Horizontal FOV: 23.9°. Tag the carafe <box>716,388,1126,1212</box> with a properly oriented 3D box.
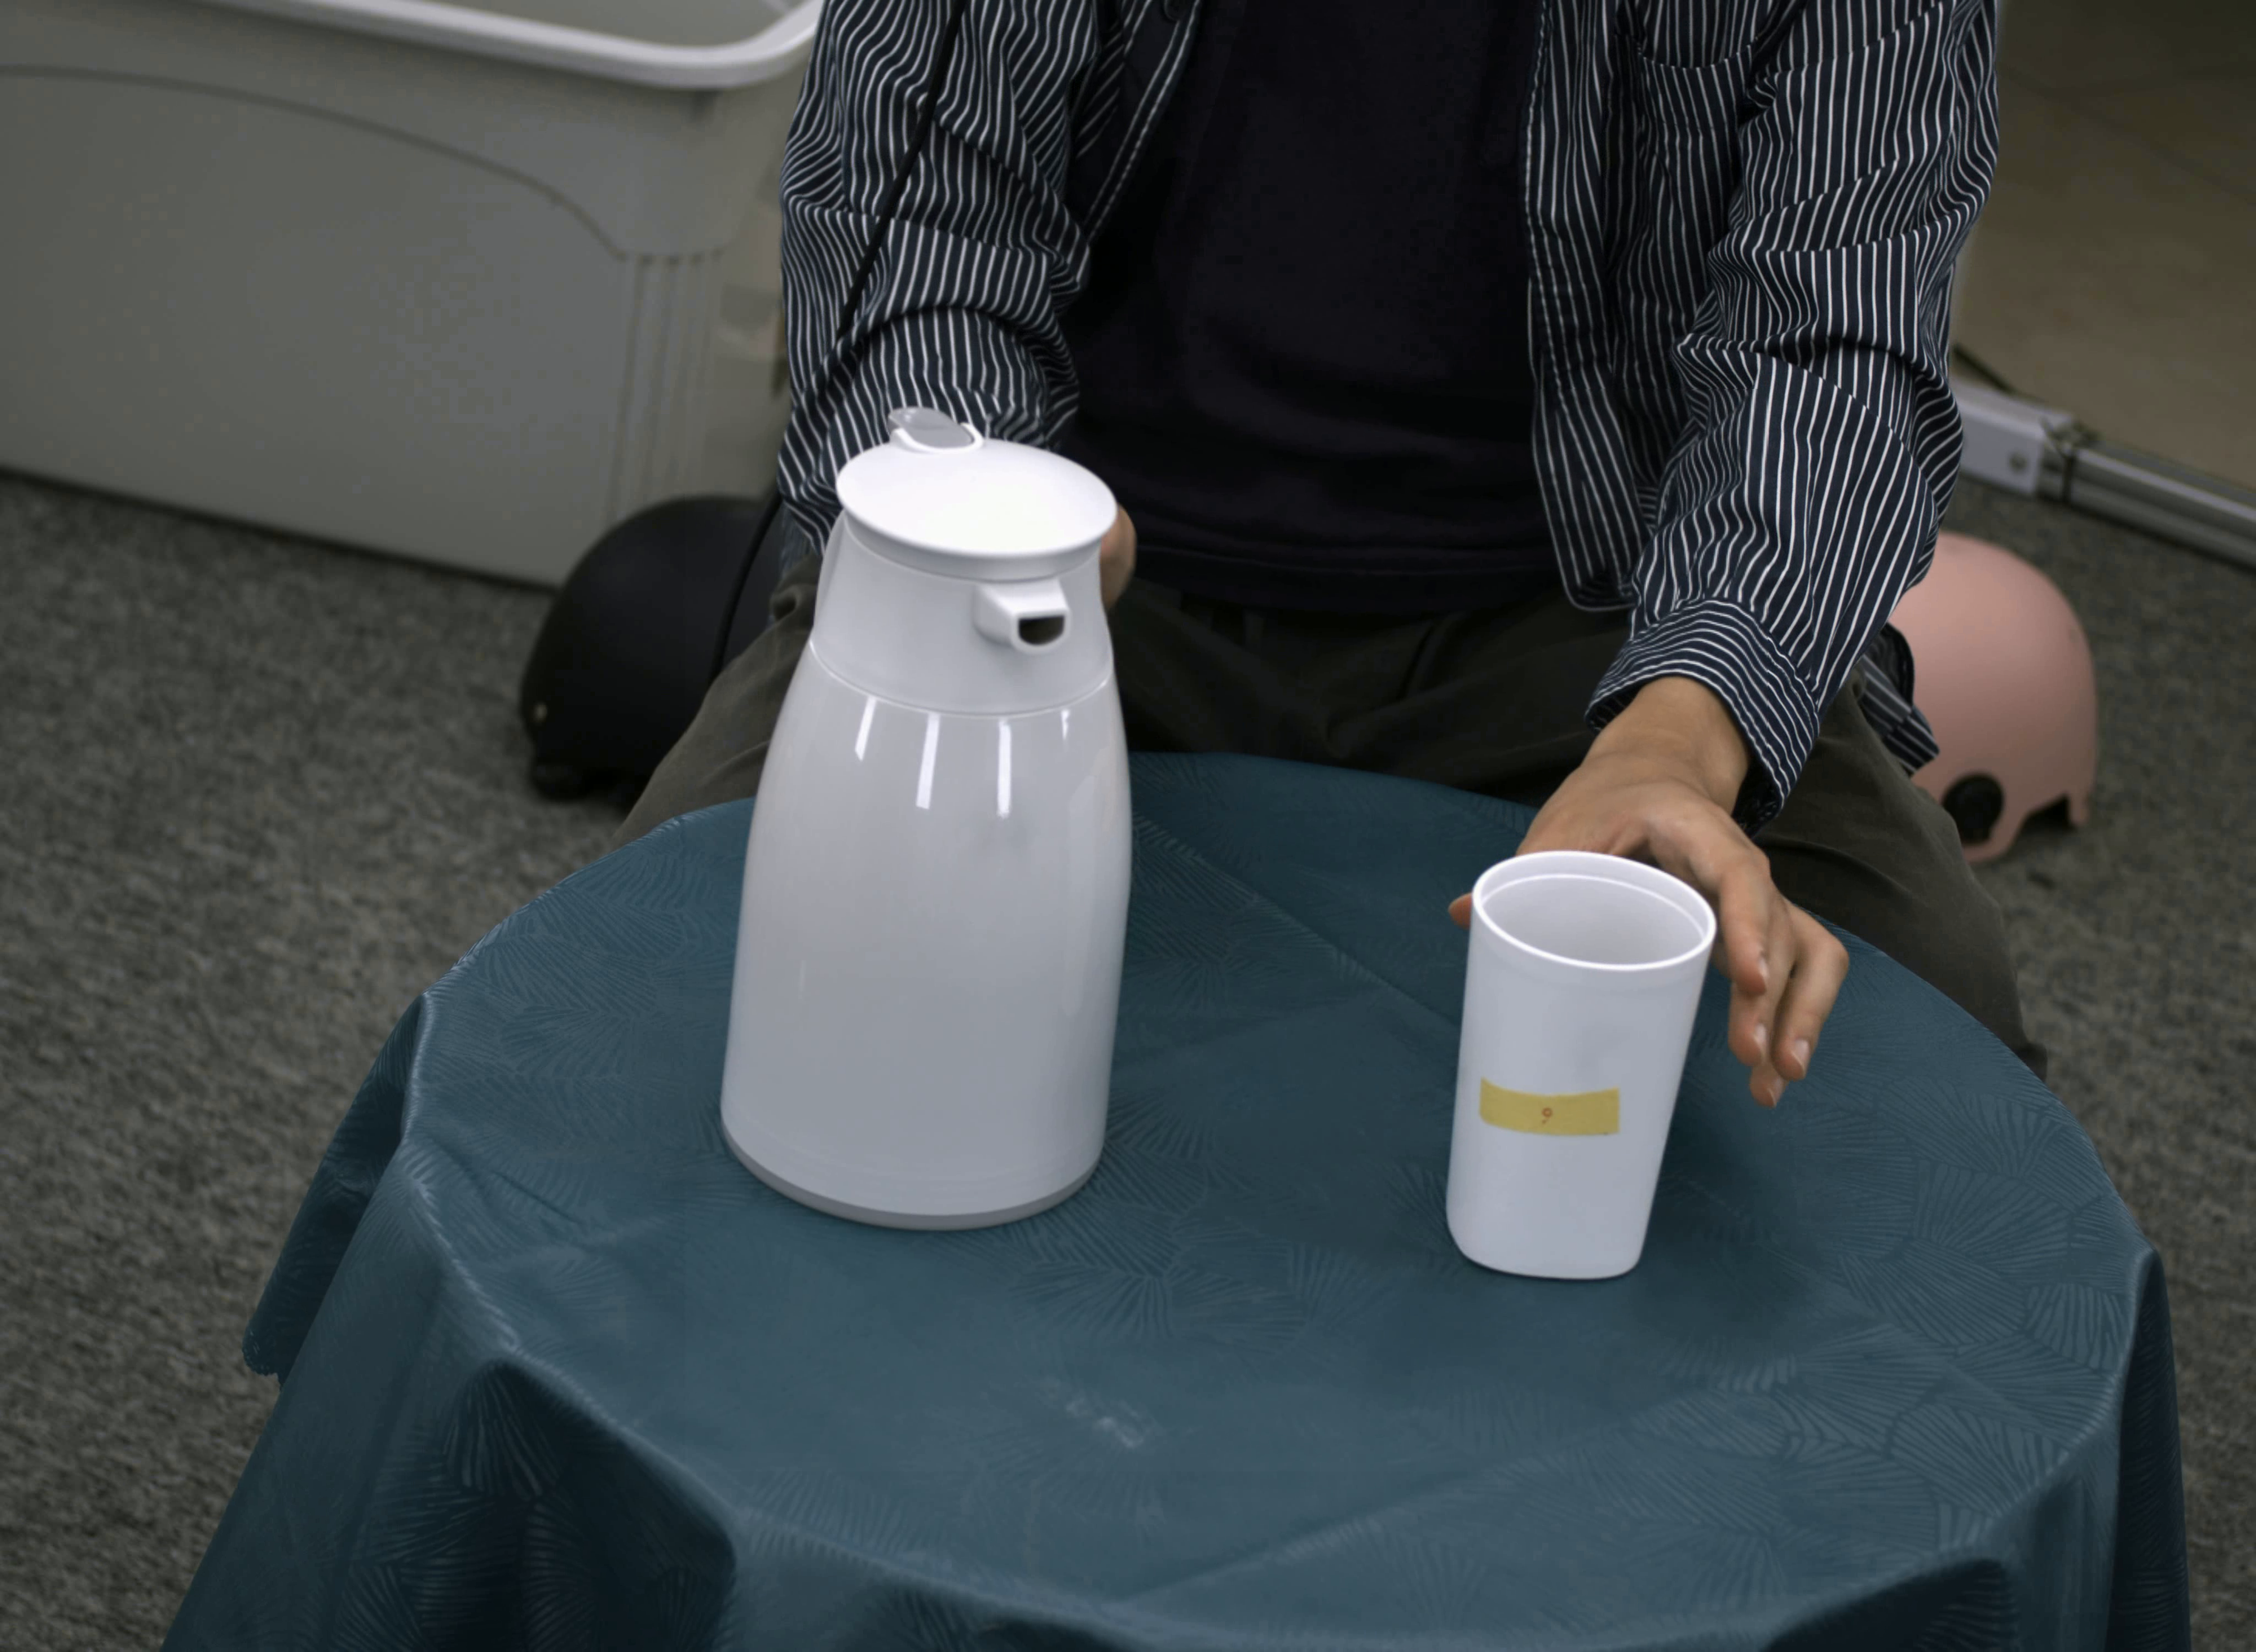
[{"bbox_3d":[-0.073,-0.019,1.780,0.132,0.248,0.169,-11,33,-27],"label":"carafe"}]

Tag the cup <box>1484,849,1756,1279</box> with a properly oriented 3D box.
[{"bbox_3d":[0.160,0.082,1.773,0.081,0.125,0.082,5,26,-3],"label":"cup"}]
